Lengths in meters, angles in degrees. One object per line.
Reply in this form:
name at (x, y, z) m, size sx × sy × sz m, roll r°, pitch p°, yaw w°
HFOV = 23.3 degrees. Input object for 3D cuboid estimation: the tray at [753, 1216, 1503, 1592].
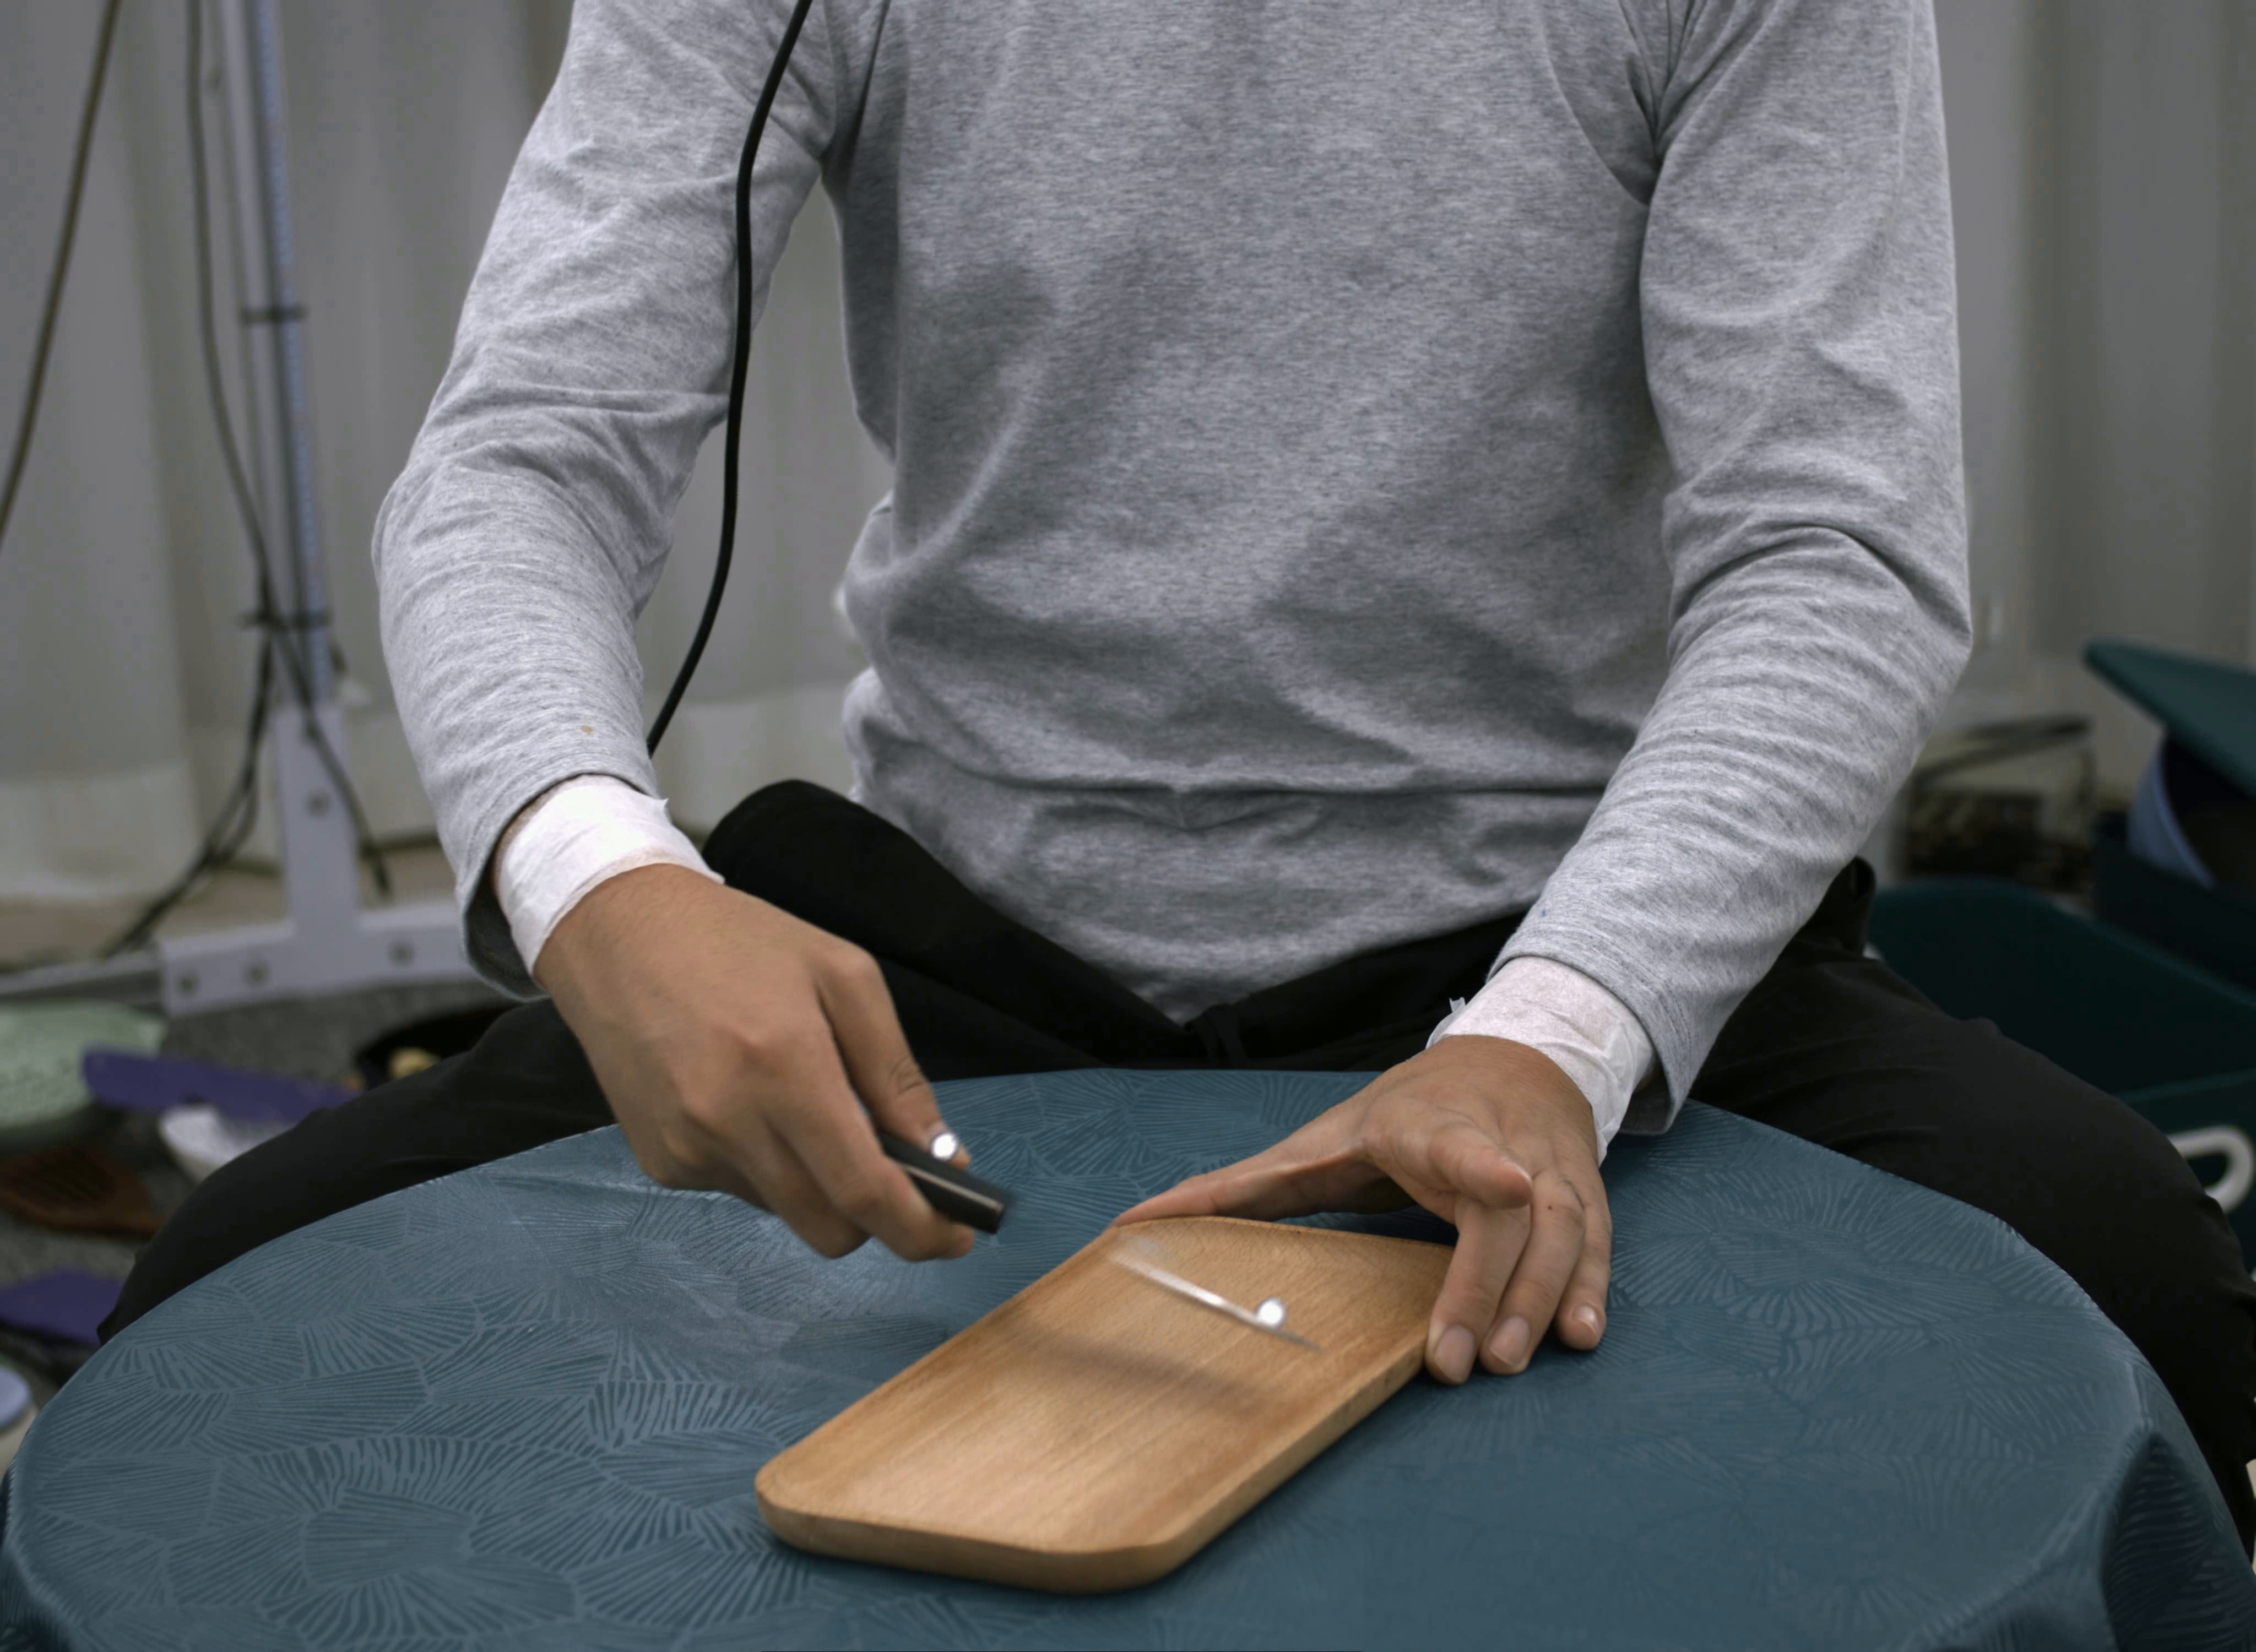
tray at (0.005, 0.158, 1.523) m, size 0.131 × 0.023 × 0.251 m, roll 8°, pitch 17°, yaw 27°

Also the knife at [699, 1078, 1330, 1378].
knife at (-0.037, 0.115, 1.561) m, size 0.240 × 0.016 × 0.024 m, roll 21°, pitch -13°, yaw 36°
